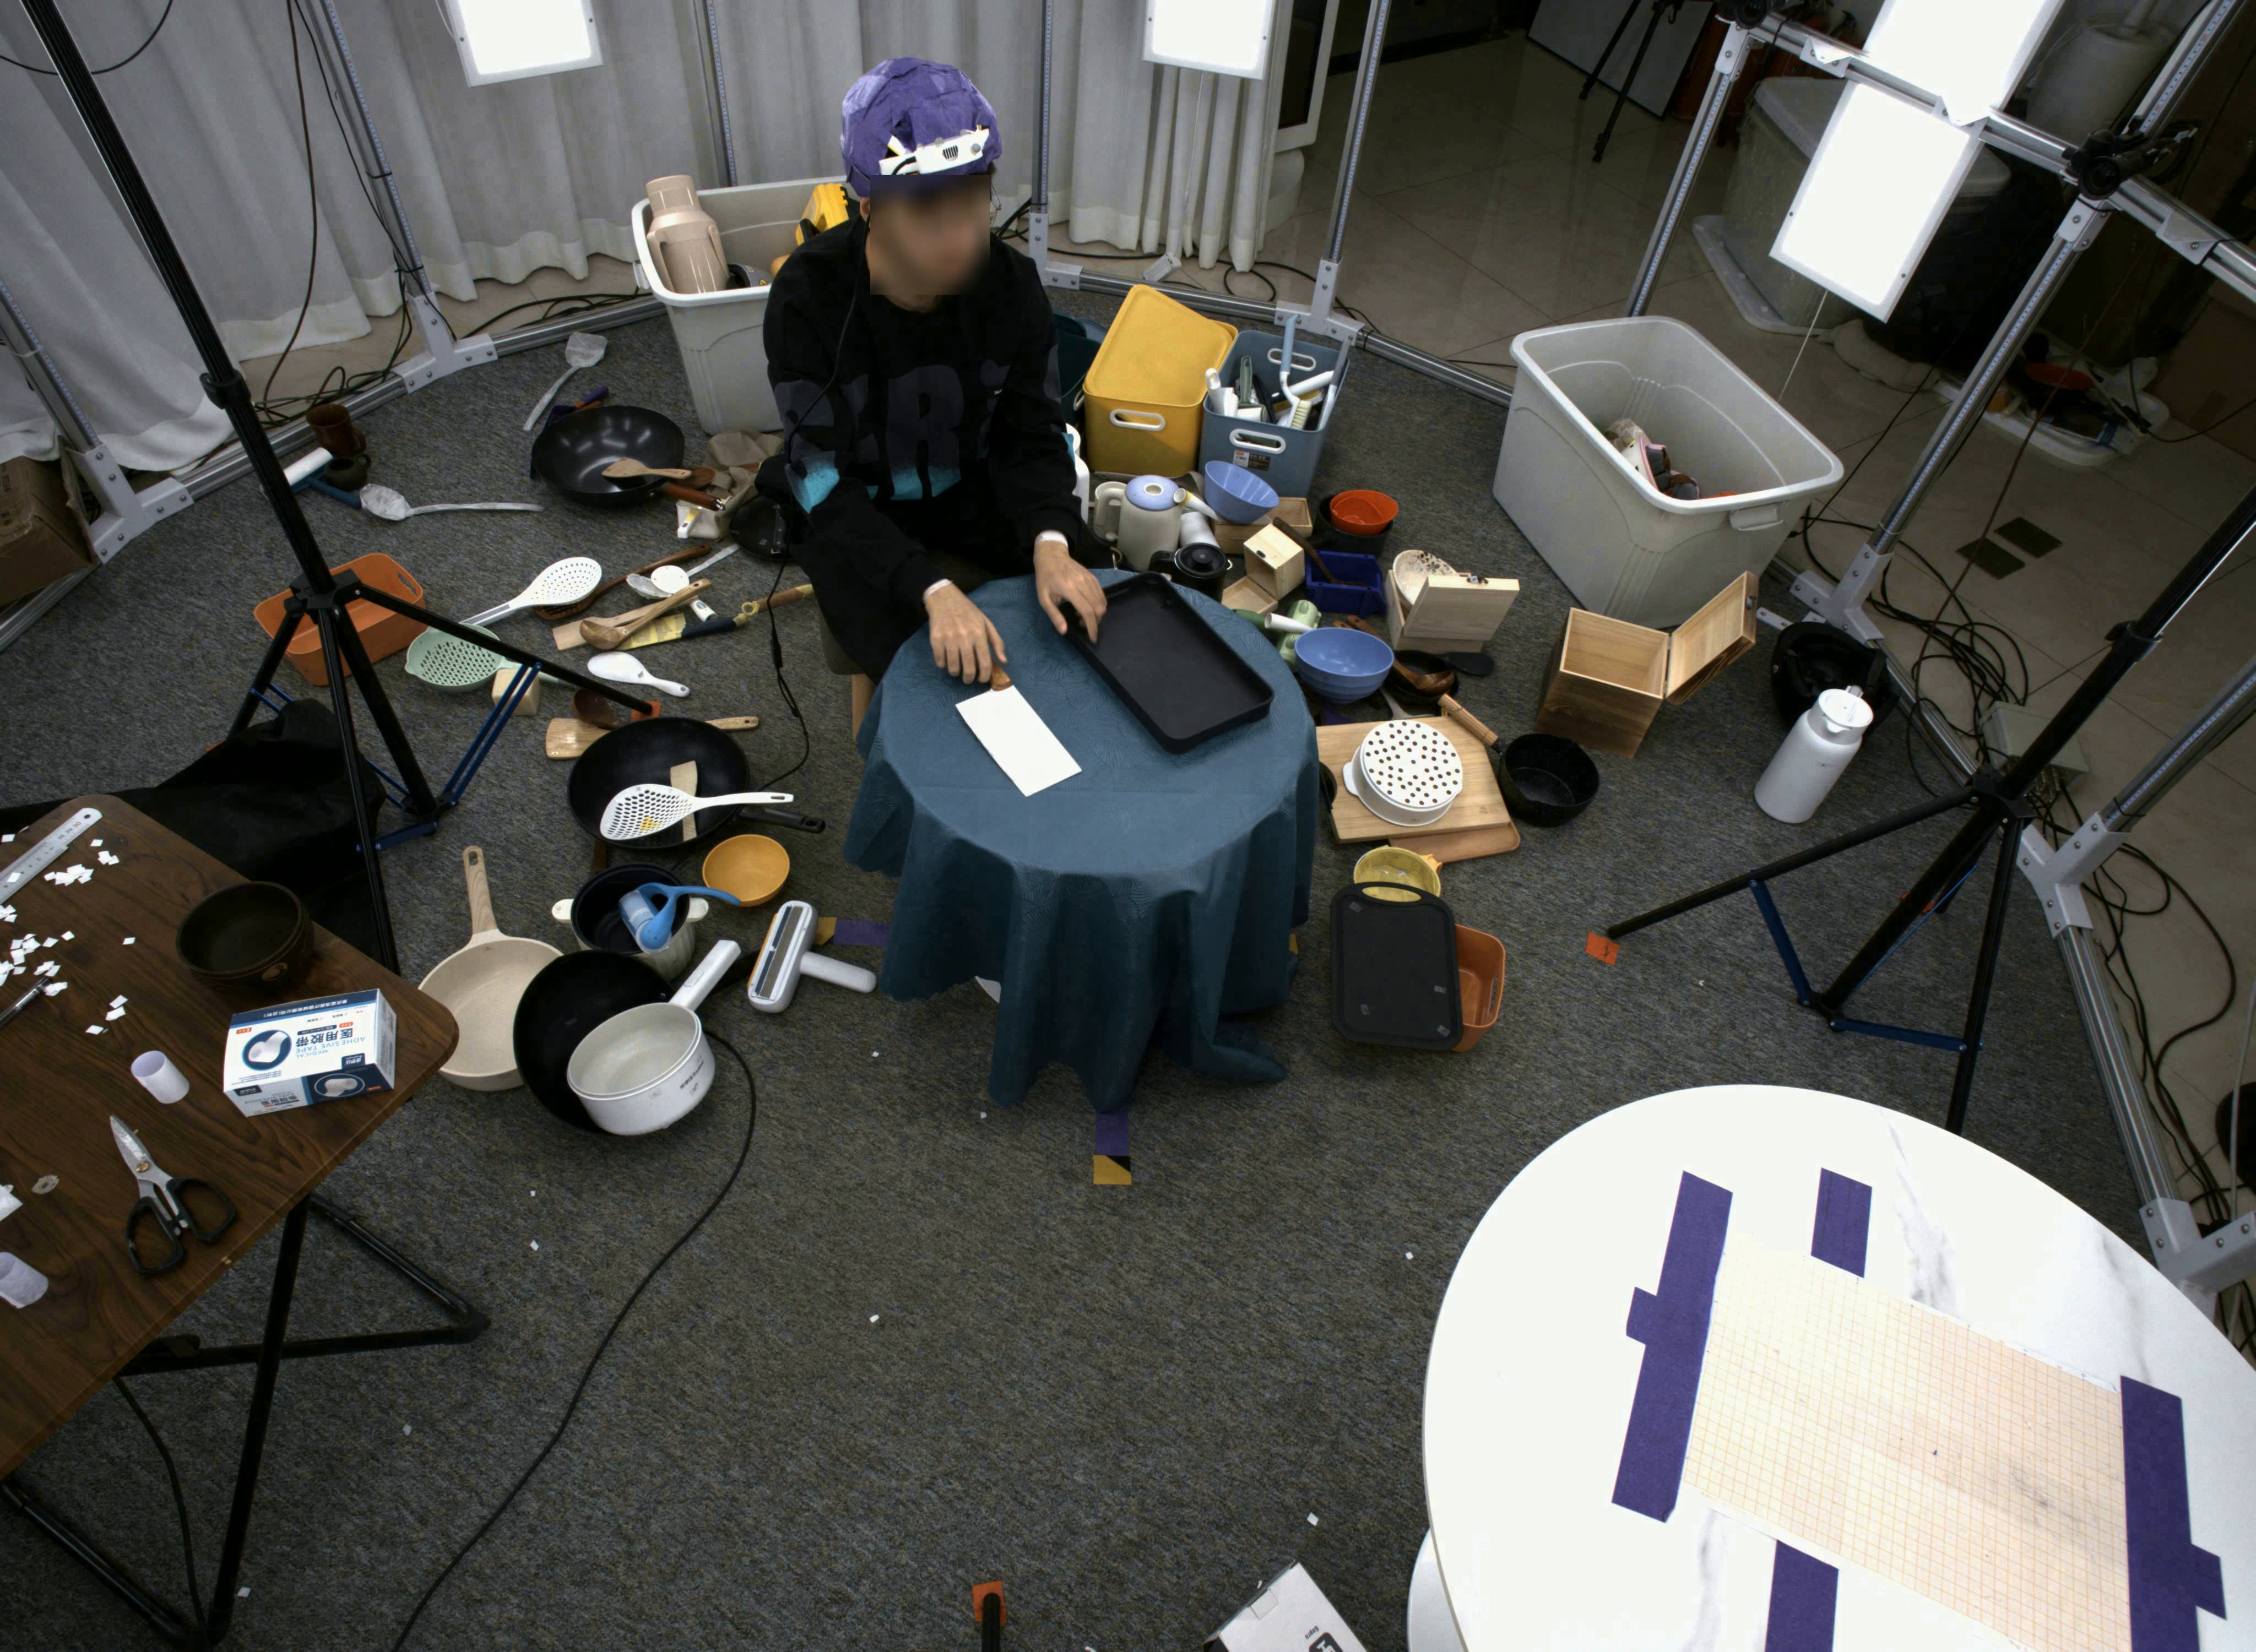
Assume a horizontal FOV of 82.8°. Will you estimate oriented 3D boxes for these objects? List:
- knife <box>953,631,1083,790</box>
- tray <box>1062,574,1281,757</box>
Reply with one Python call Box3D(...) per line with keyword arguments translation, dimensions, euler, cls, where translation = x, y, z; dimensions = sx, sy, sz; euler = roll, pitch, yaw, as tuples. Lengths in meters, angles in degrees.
Box3D(translation=(-0.178, -0.161, 1.786), dimensions=(0.093, 0.020, 0.311), euler=(-25, 58, -22), cls="knife")
Box3D(translation=(0.058, -0.238, 1.855), dimensions=(0.185, 0.036, 0.324), euler=(-26, 55, -23), cls="tray")
